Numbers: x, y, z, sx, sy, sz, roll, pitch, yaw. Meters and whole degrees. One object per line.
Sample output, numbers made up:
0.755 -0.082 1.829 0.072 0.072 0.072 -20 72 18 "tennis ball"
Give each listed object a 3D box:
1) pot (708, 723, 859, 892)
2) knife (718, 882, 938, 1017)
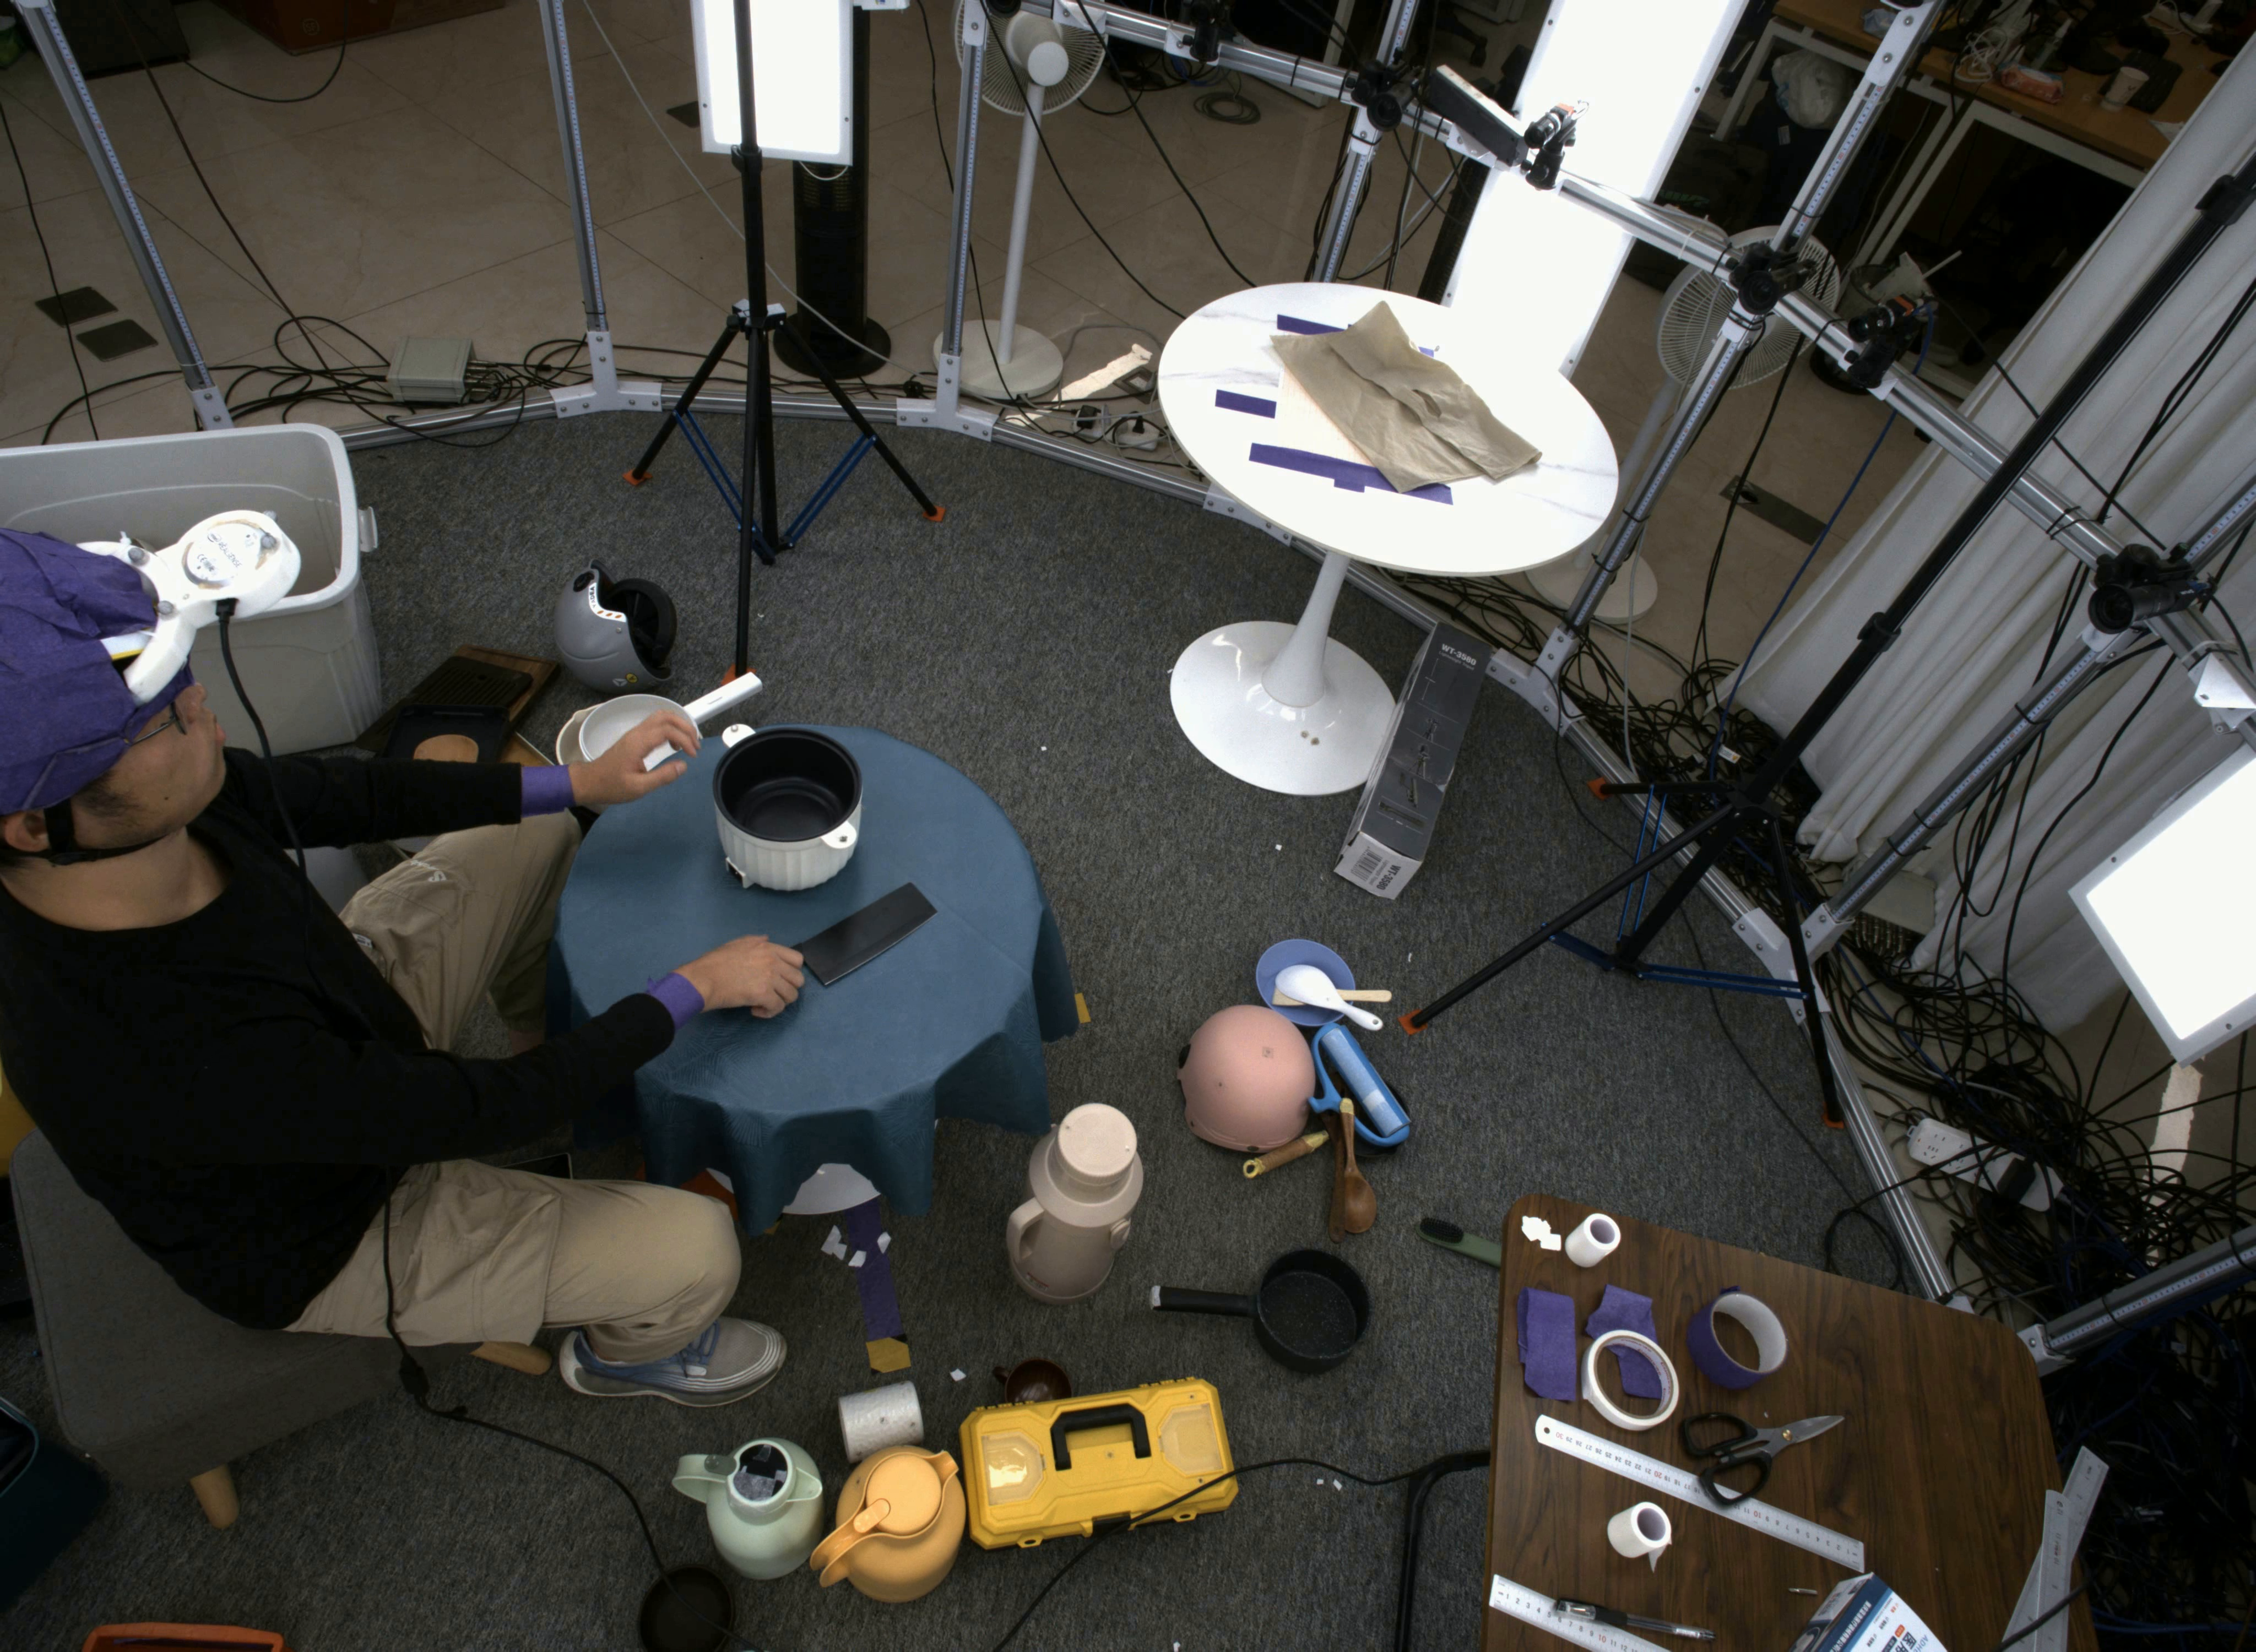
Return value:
-0.428 -0.019 1.645 0.235 0.145 0.191 41 58 16 "pot"
-0.372 0.154 1.611 0.304 0.021 0.079 -27 64 -32 "knife"
